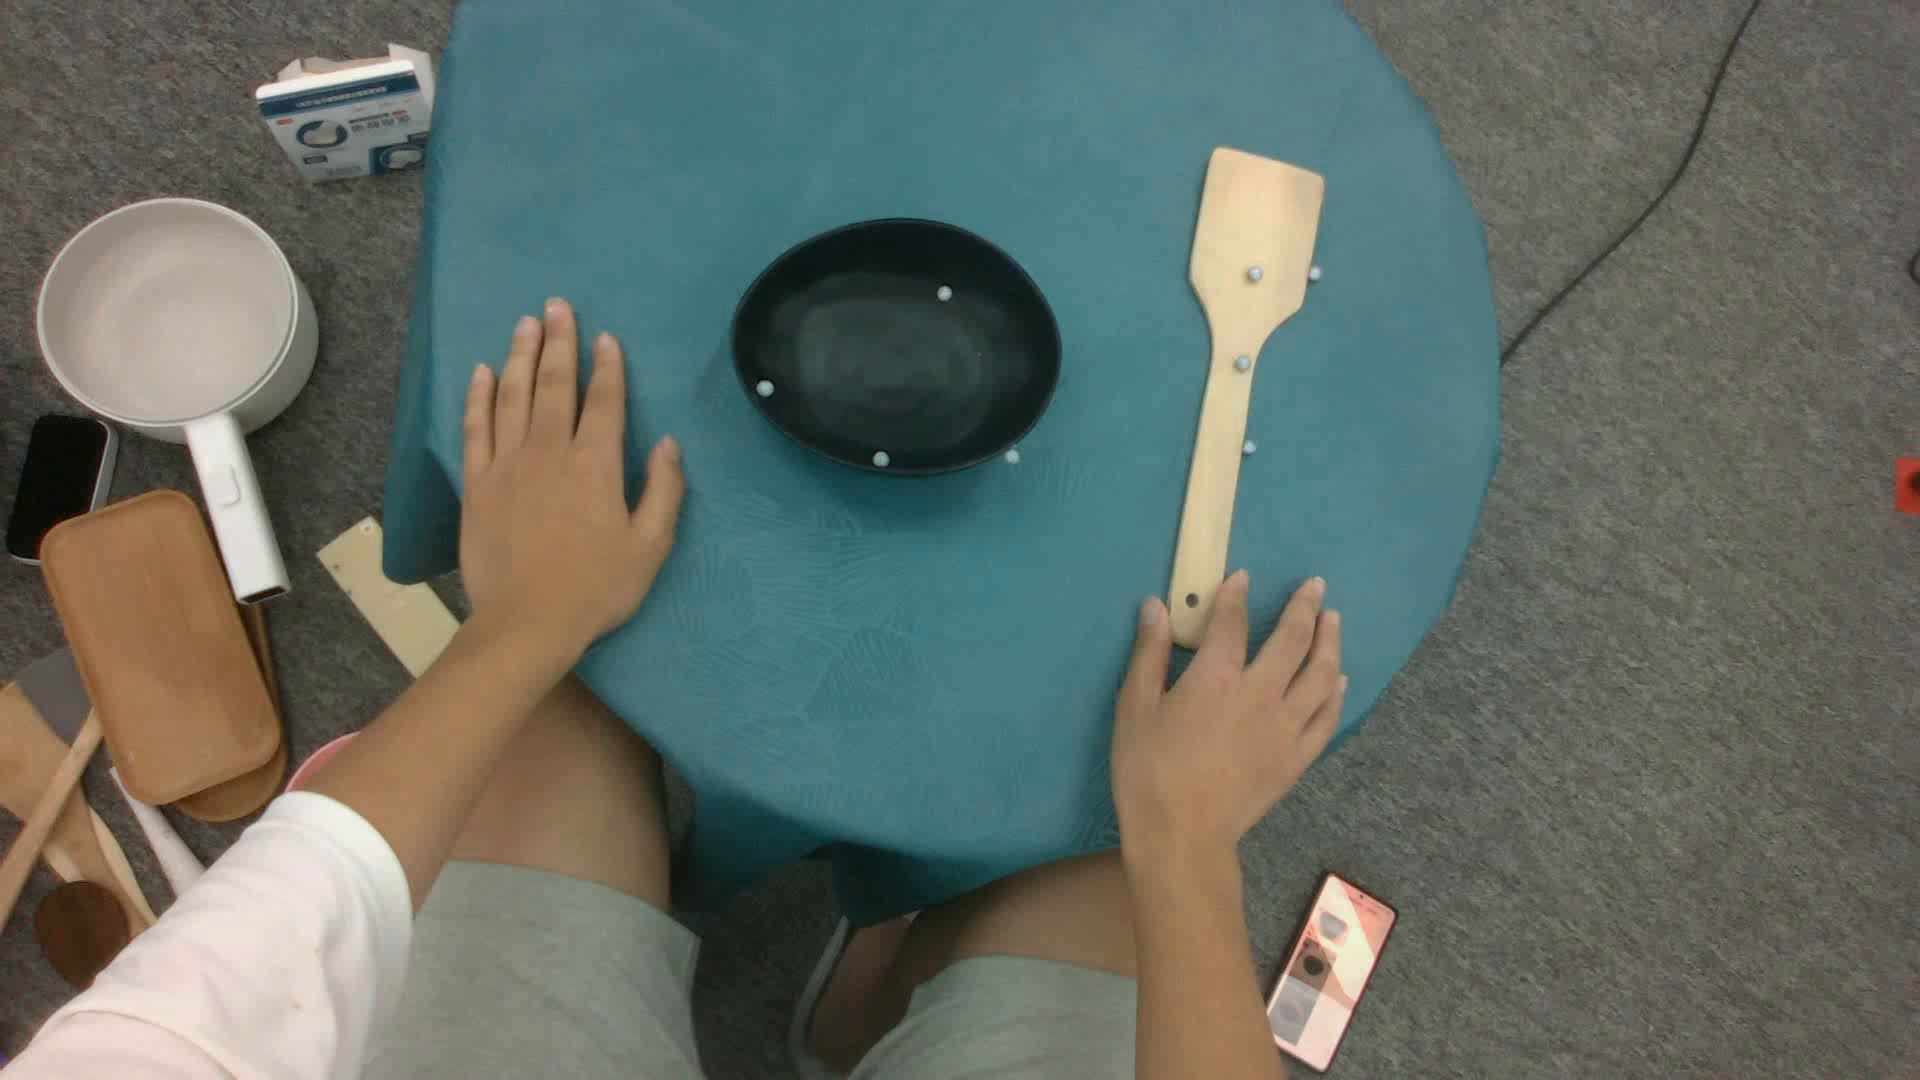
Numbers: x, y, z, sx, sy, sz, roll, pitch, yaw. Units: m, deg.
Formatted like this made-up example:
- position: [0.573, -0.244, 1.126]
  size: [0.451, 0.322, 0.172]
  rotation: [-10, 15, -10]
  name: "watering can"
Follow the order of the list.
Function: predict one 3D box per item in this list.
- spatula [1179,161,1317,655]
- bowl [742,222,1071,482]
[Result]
- position: [0.157, -0.078, 0.784]
  size: [0.072, 0.010, 0.293]
  rotation: [11, 76, -7]
  name: "spatula"
- position: [-0.029, -0.092, 0.732]
  size: [0.170, 0.066, 0.137]
  rotation: [0, 79, -6]
  name: "bowl"
